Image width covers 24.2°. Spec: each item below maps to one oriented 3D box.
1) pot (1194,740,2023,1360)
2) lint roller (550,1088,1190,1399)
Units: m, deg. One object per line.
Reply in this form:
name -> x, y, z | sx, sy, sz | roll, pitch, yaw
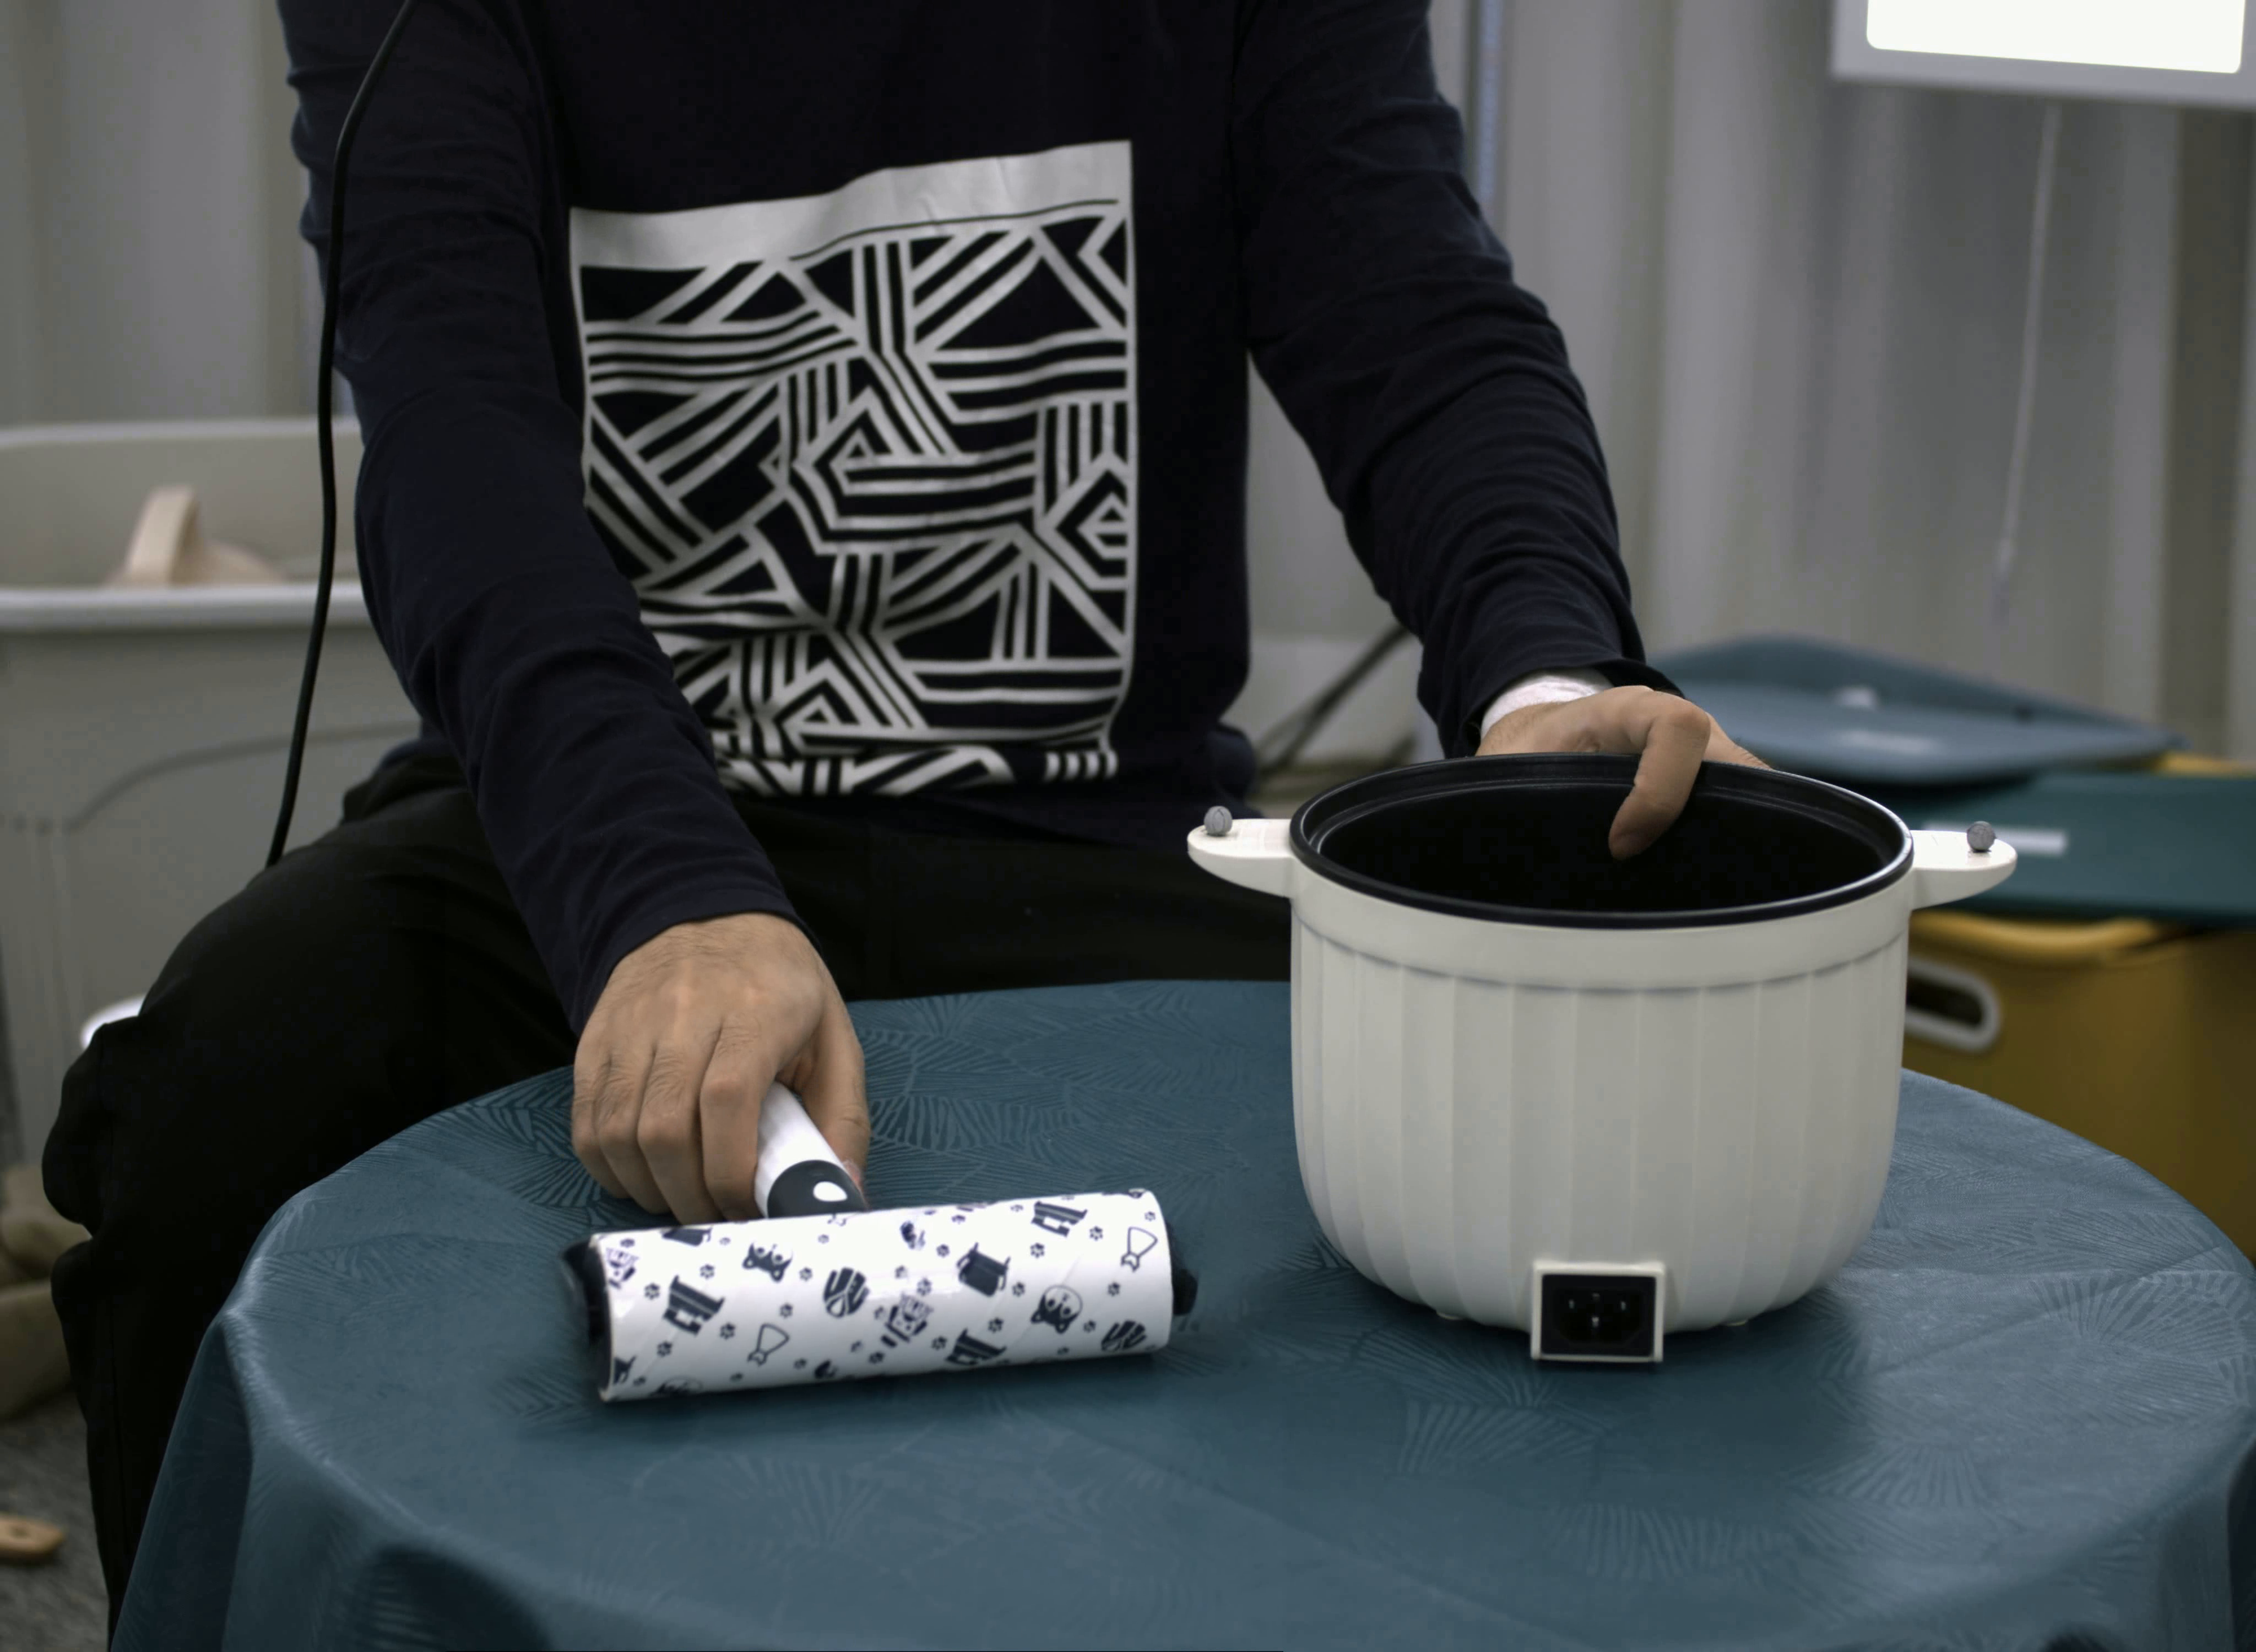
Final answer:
pot -> 0.136, 0.061, 1.546 | 0.239, 0.144, 0.189 | 4, 19, 1
lint roller -> -0.097, 0.109, 1.560 | 0.176, 0.051, 0.245 | -5, 13, -15
